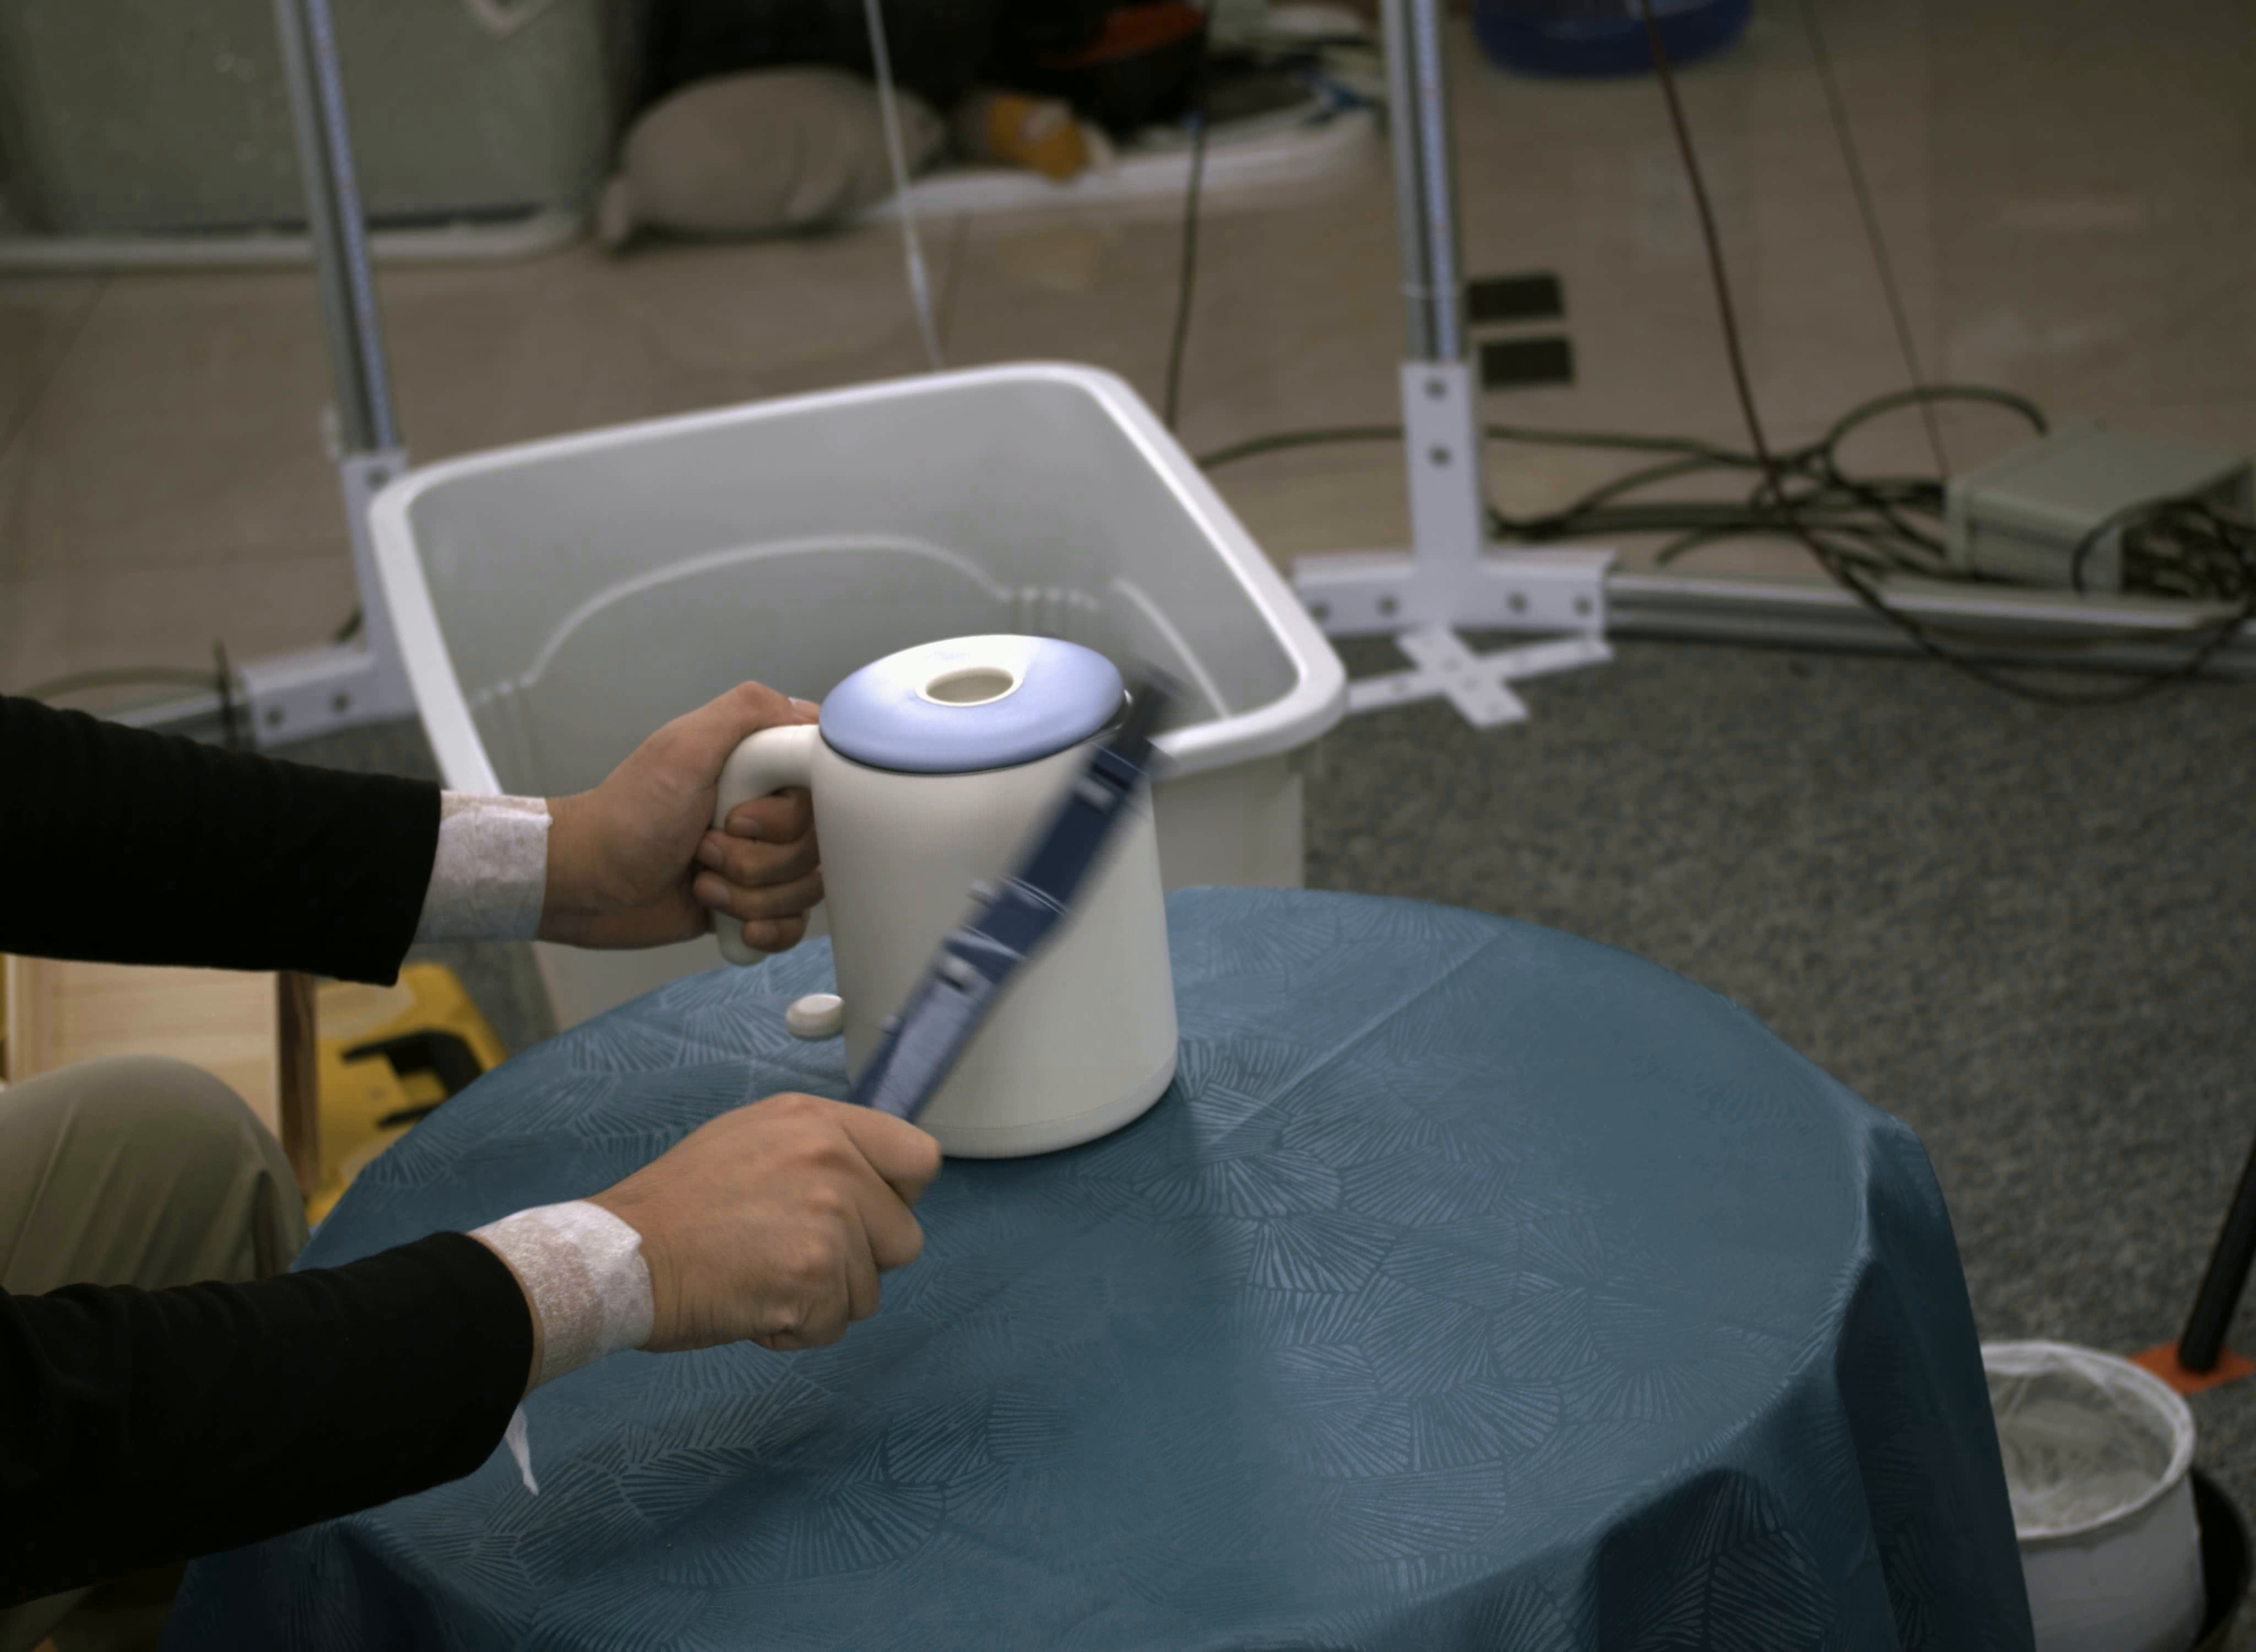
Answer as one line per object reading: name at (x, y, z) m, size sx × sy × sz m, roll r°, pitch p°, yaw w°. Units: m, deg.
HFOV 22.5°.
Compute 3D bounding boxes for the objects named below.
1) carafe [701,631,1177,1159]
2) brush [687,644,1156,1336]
carafe at (-0.075, 0.026, 2.203) m, size 0.190 × 0.185 × 0.130 m, roll 1°, pitch 26°, yaw 18°
brush at (-0.072, 0.057, 2.022) m, size 0.033 × 0.097 × 0.270 m, roll 30°, pitch 63°, yaw 5°
